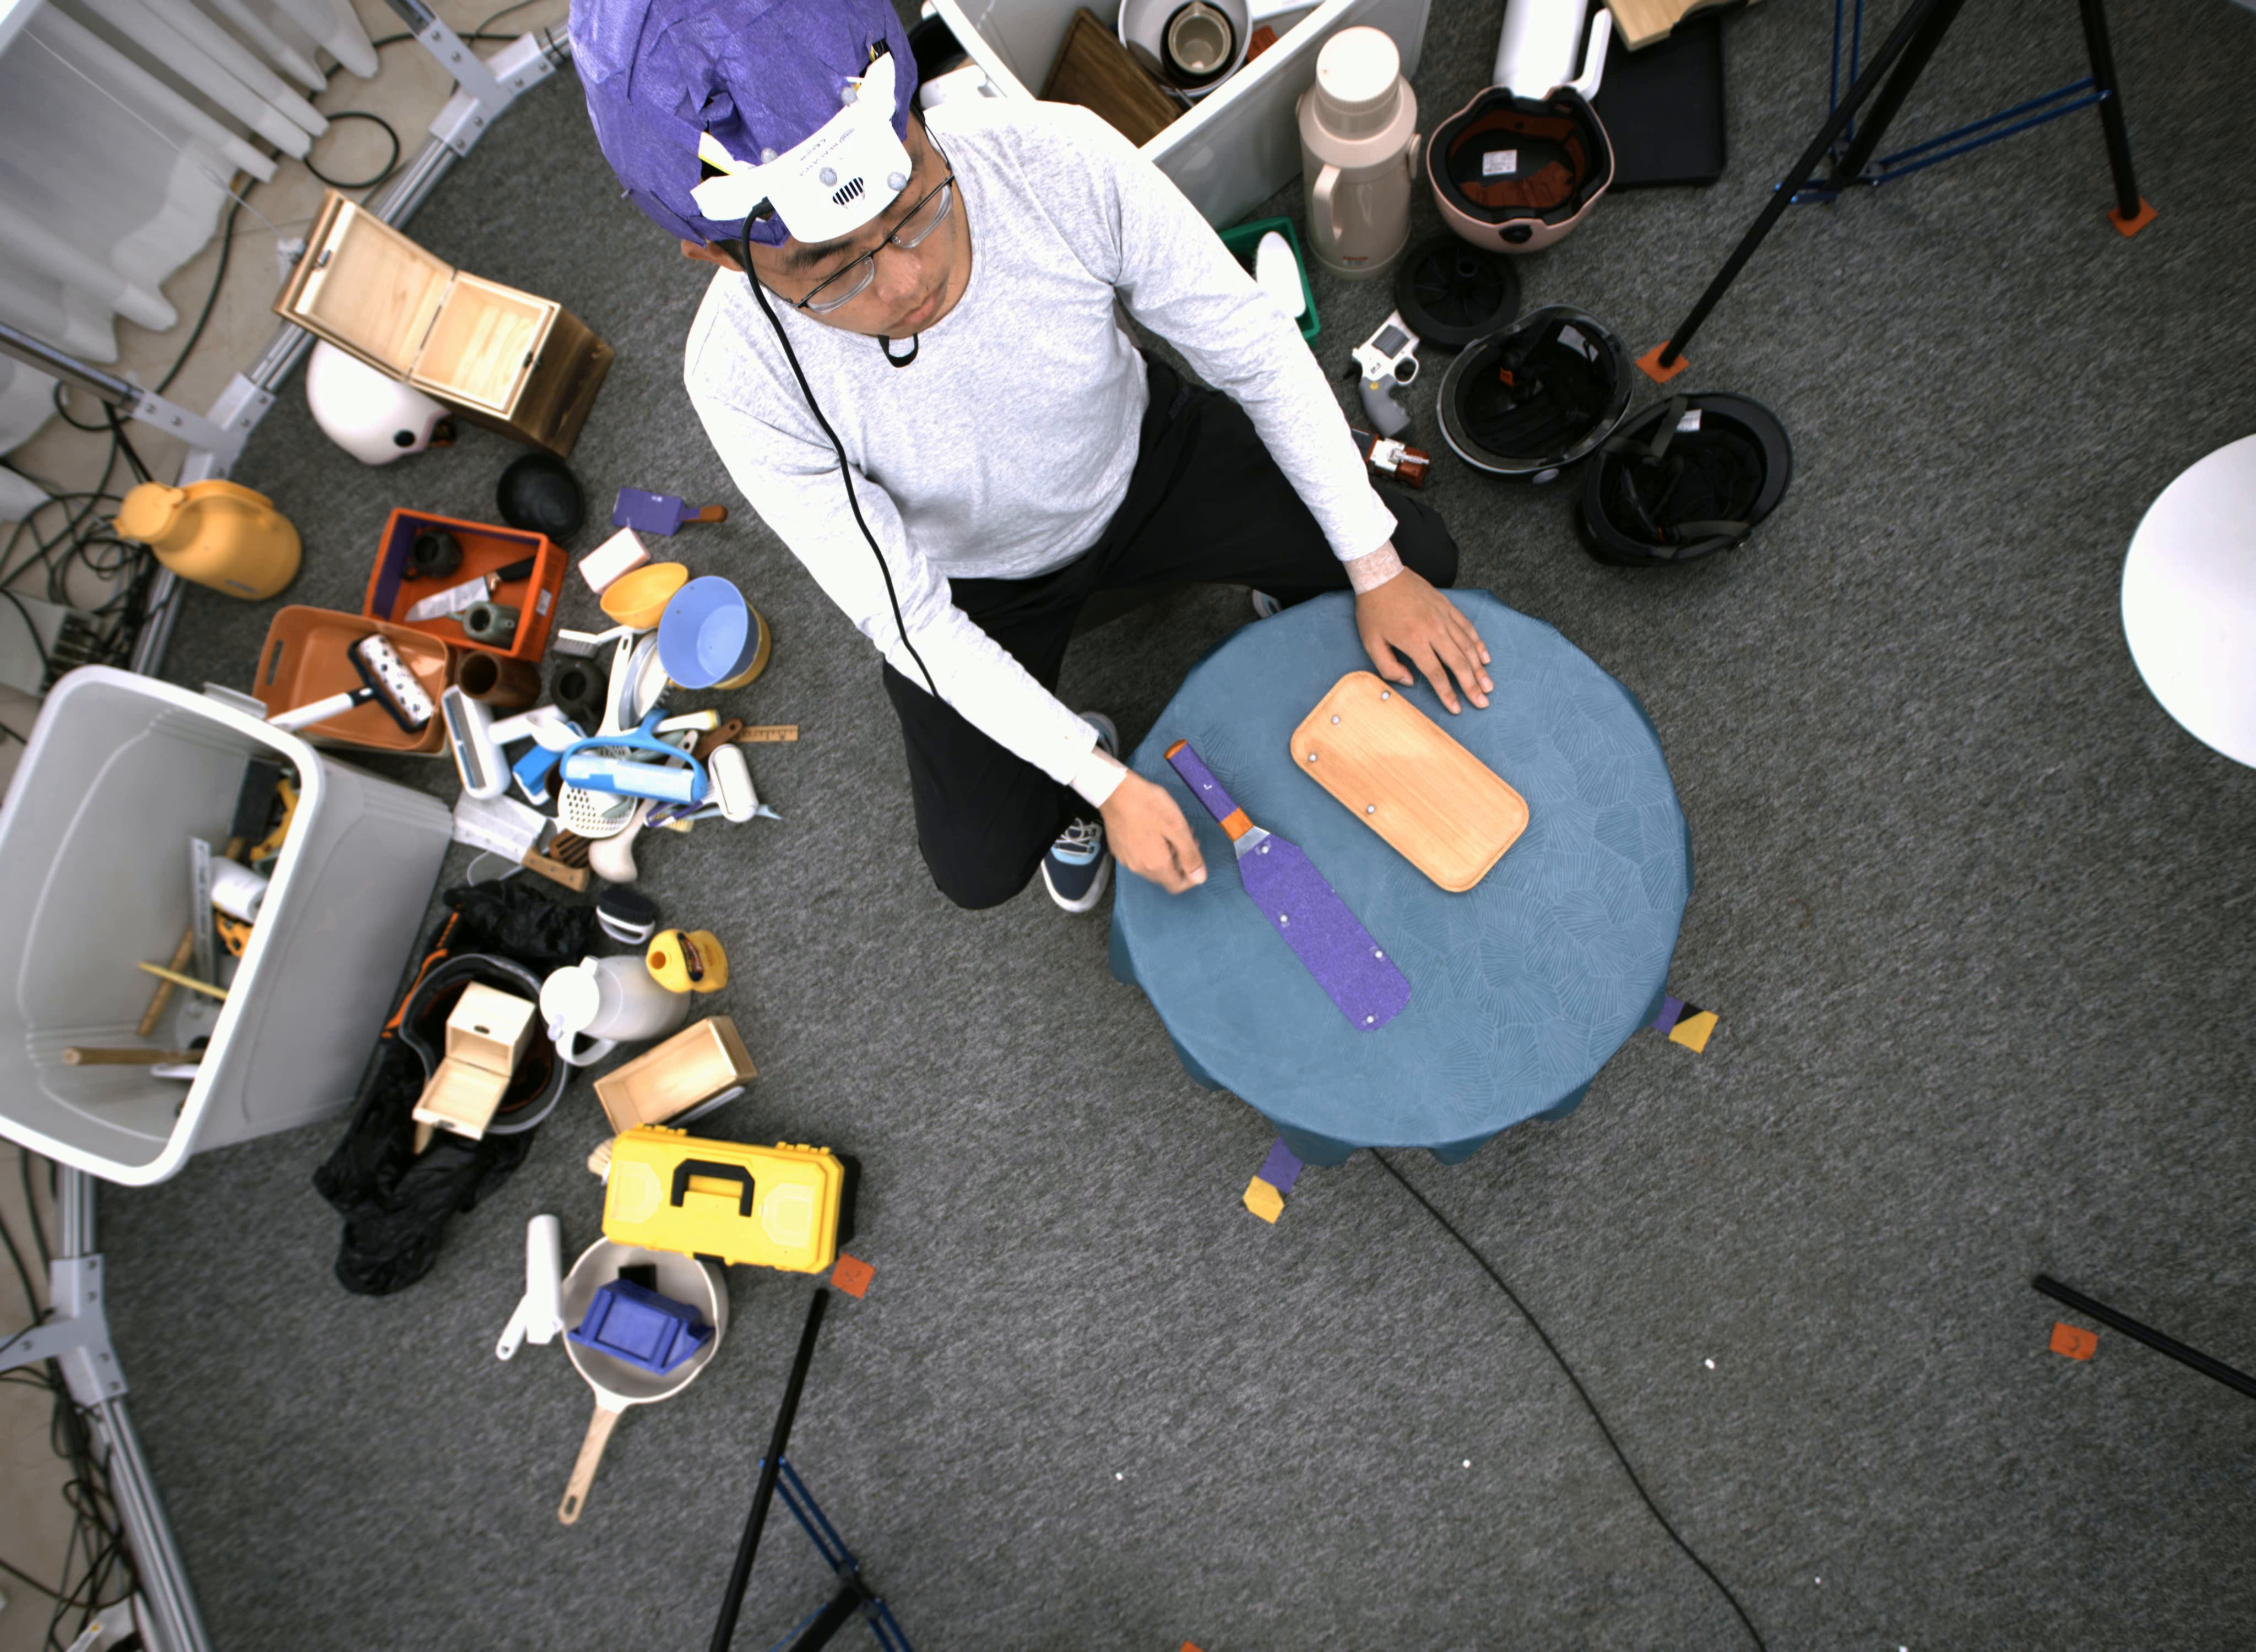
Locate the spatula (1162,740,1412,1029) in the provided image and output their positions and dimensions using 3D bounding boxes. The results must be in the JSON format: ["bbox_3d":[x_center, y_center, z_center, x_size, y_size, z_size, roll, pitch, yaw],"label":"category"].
[{"bbox_3d":[0.162,0.057,1.442,0.075,0.086,0.362,-39,106,3],"label":"spatula"}]

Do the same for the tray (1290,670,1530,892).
[{"bbox_3d":[0.297,-0.050,1.454,0.249,0.023,0.131,42,98,10],"label":"tray"}]
